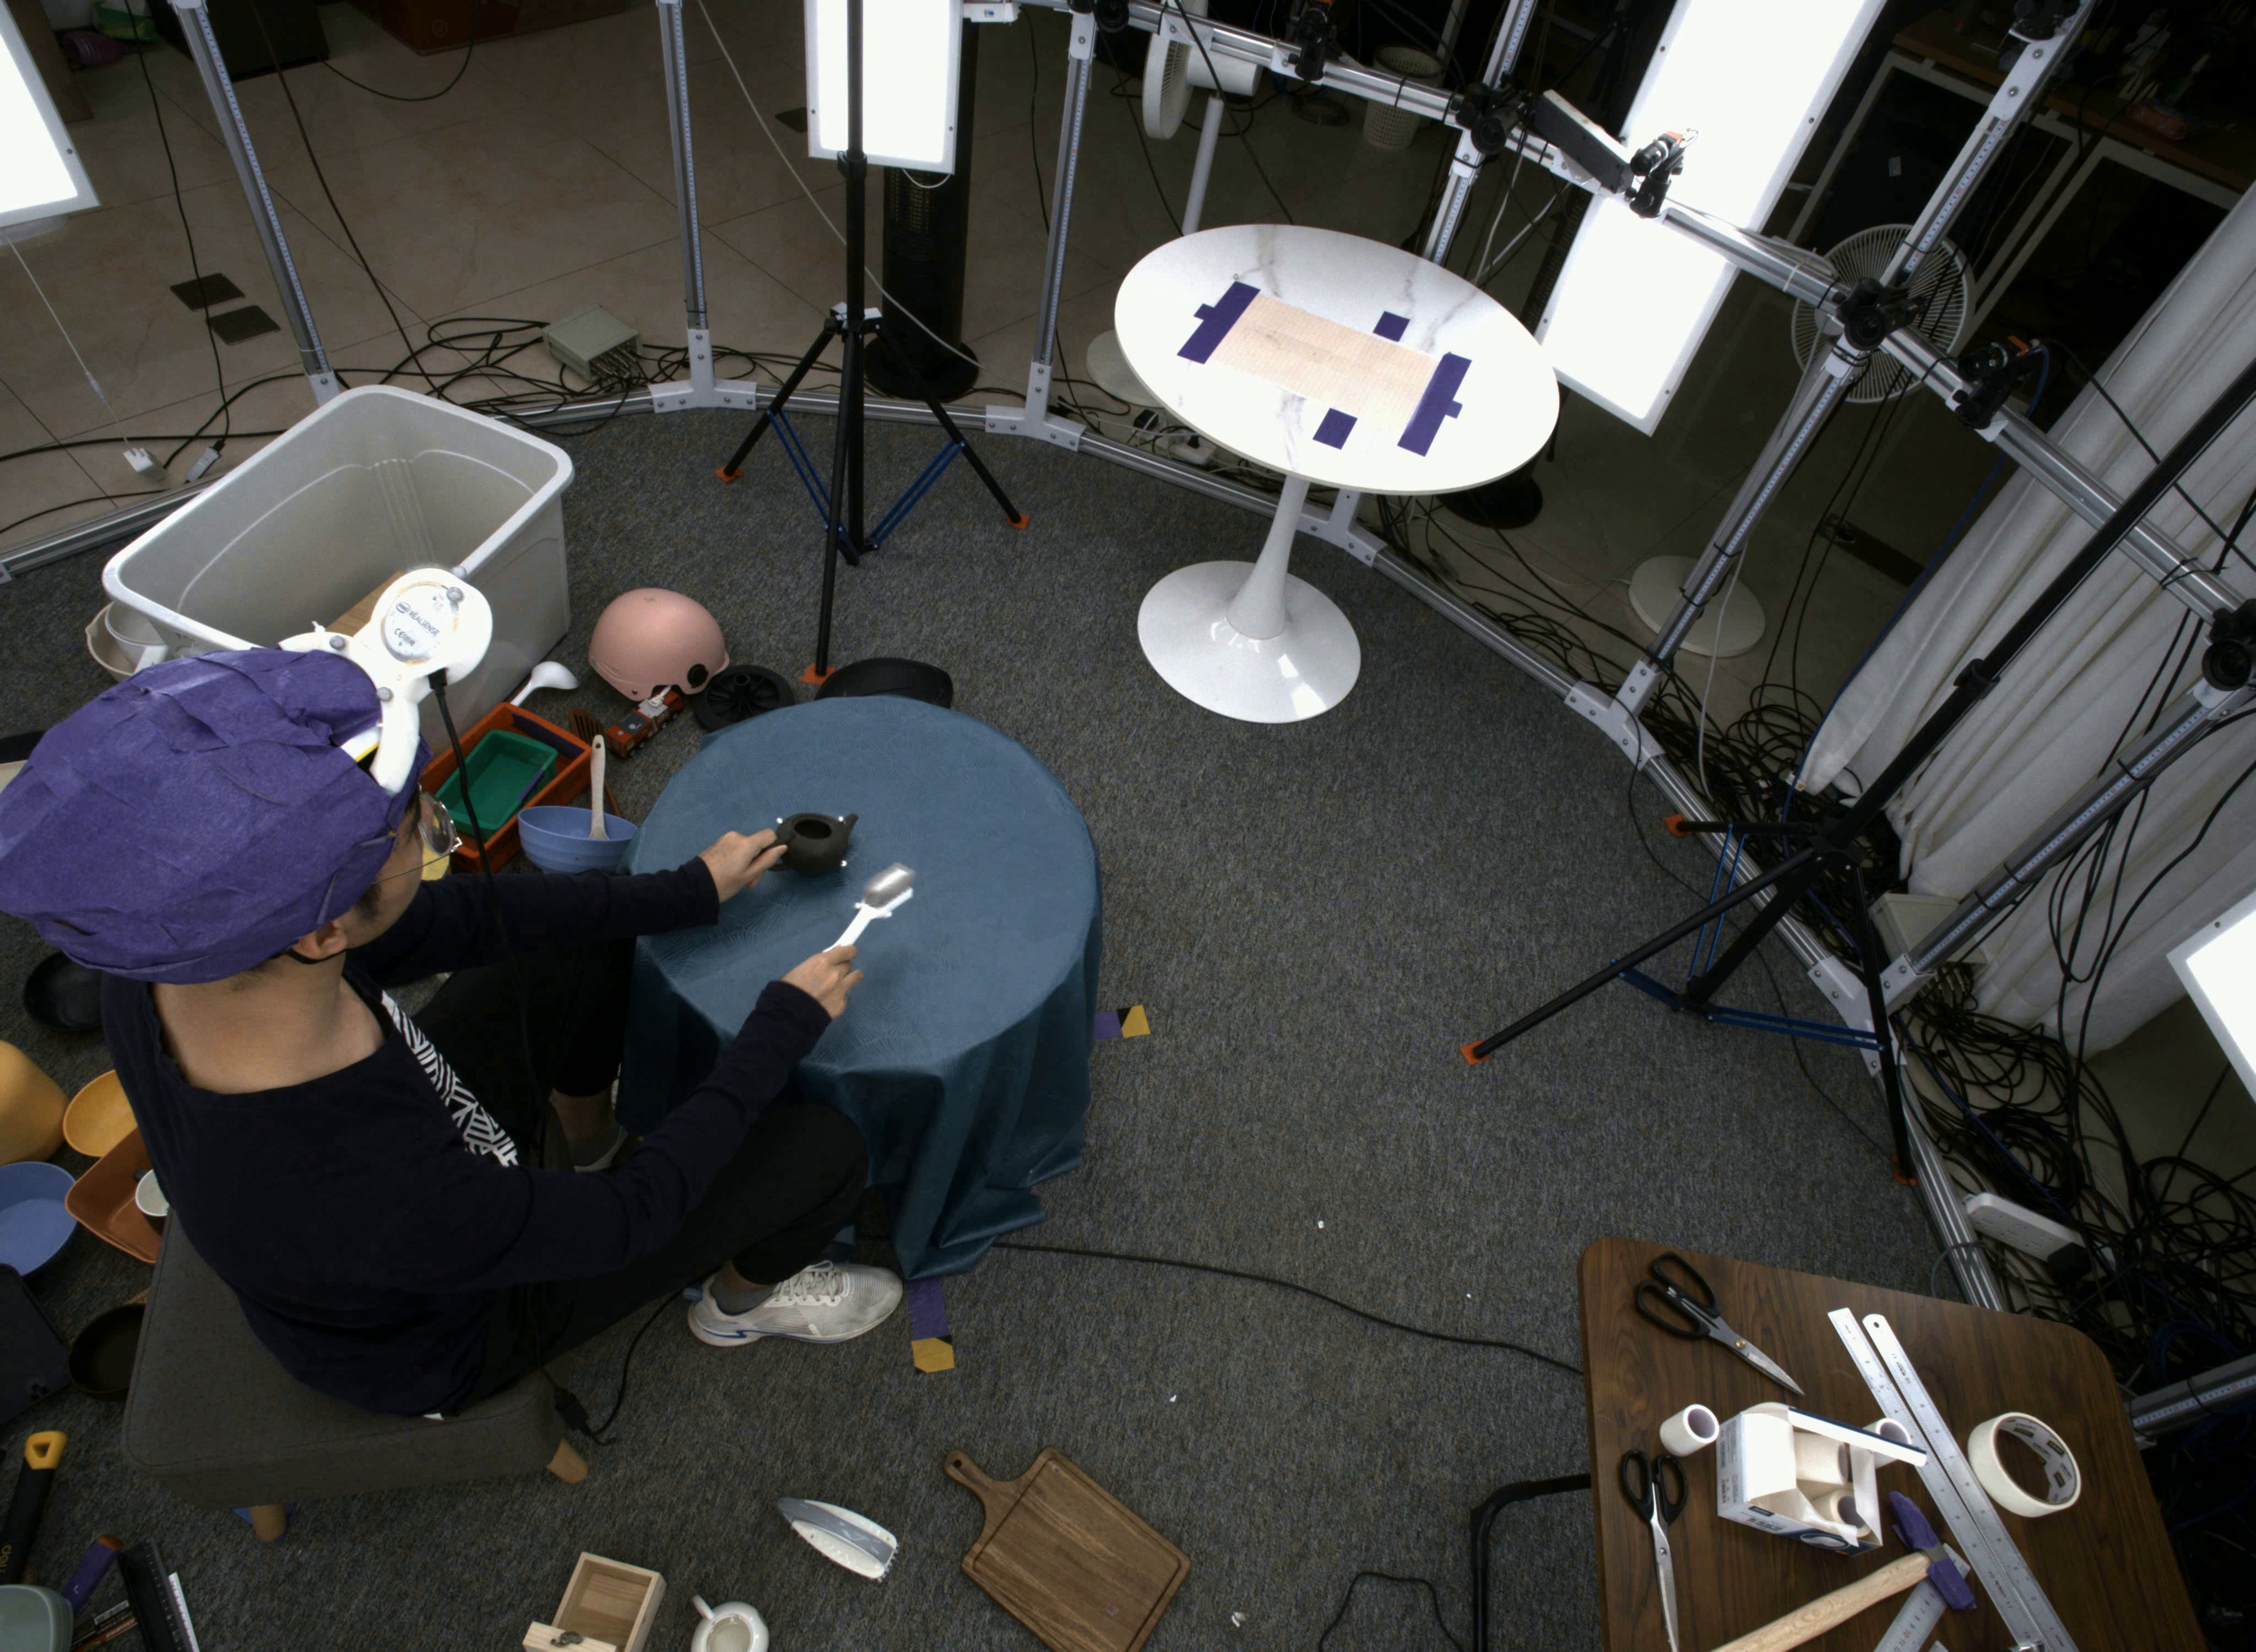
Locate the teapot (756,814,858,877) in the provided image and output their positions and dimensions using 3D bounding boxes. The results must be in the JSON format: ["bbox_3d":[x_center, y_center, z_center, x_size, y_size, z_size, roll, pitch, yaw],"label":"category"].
[{"bbox_3d":[-0.410,0.024,1.663,0.089,0.066,0.155,36,36,27],"label":"teapot"}]

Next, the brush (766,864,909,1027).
[{"bbox_3d":[-0.340,0.132,1.515,0.033,0.052,0.243,26,56,23],"label":"brush"}]
